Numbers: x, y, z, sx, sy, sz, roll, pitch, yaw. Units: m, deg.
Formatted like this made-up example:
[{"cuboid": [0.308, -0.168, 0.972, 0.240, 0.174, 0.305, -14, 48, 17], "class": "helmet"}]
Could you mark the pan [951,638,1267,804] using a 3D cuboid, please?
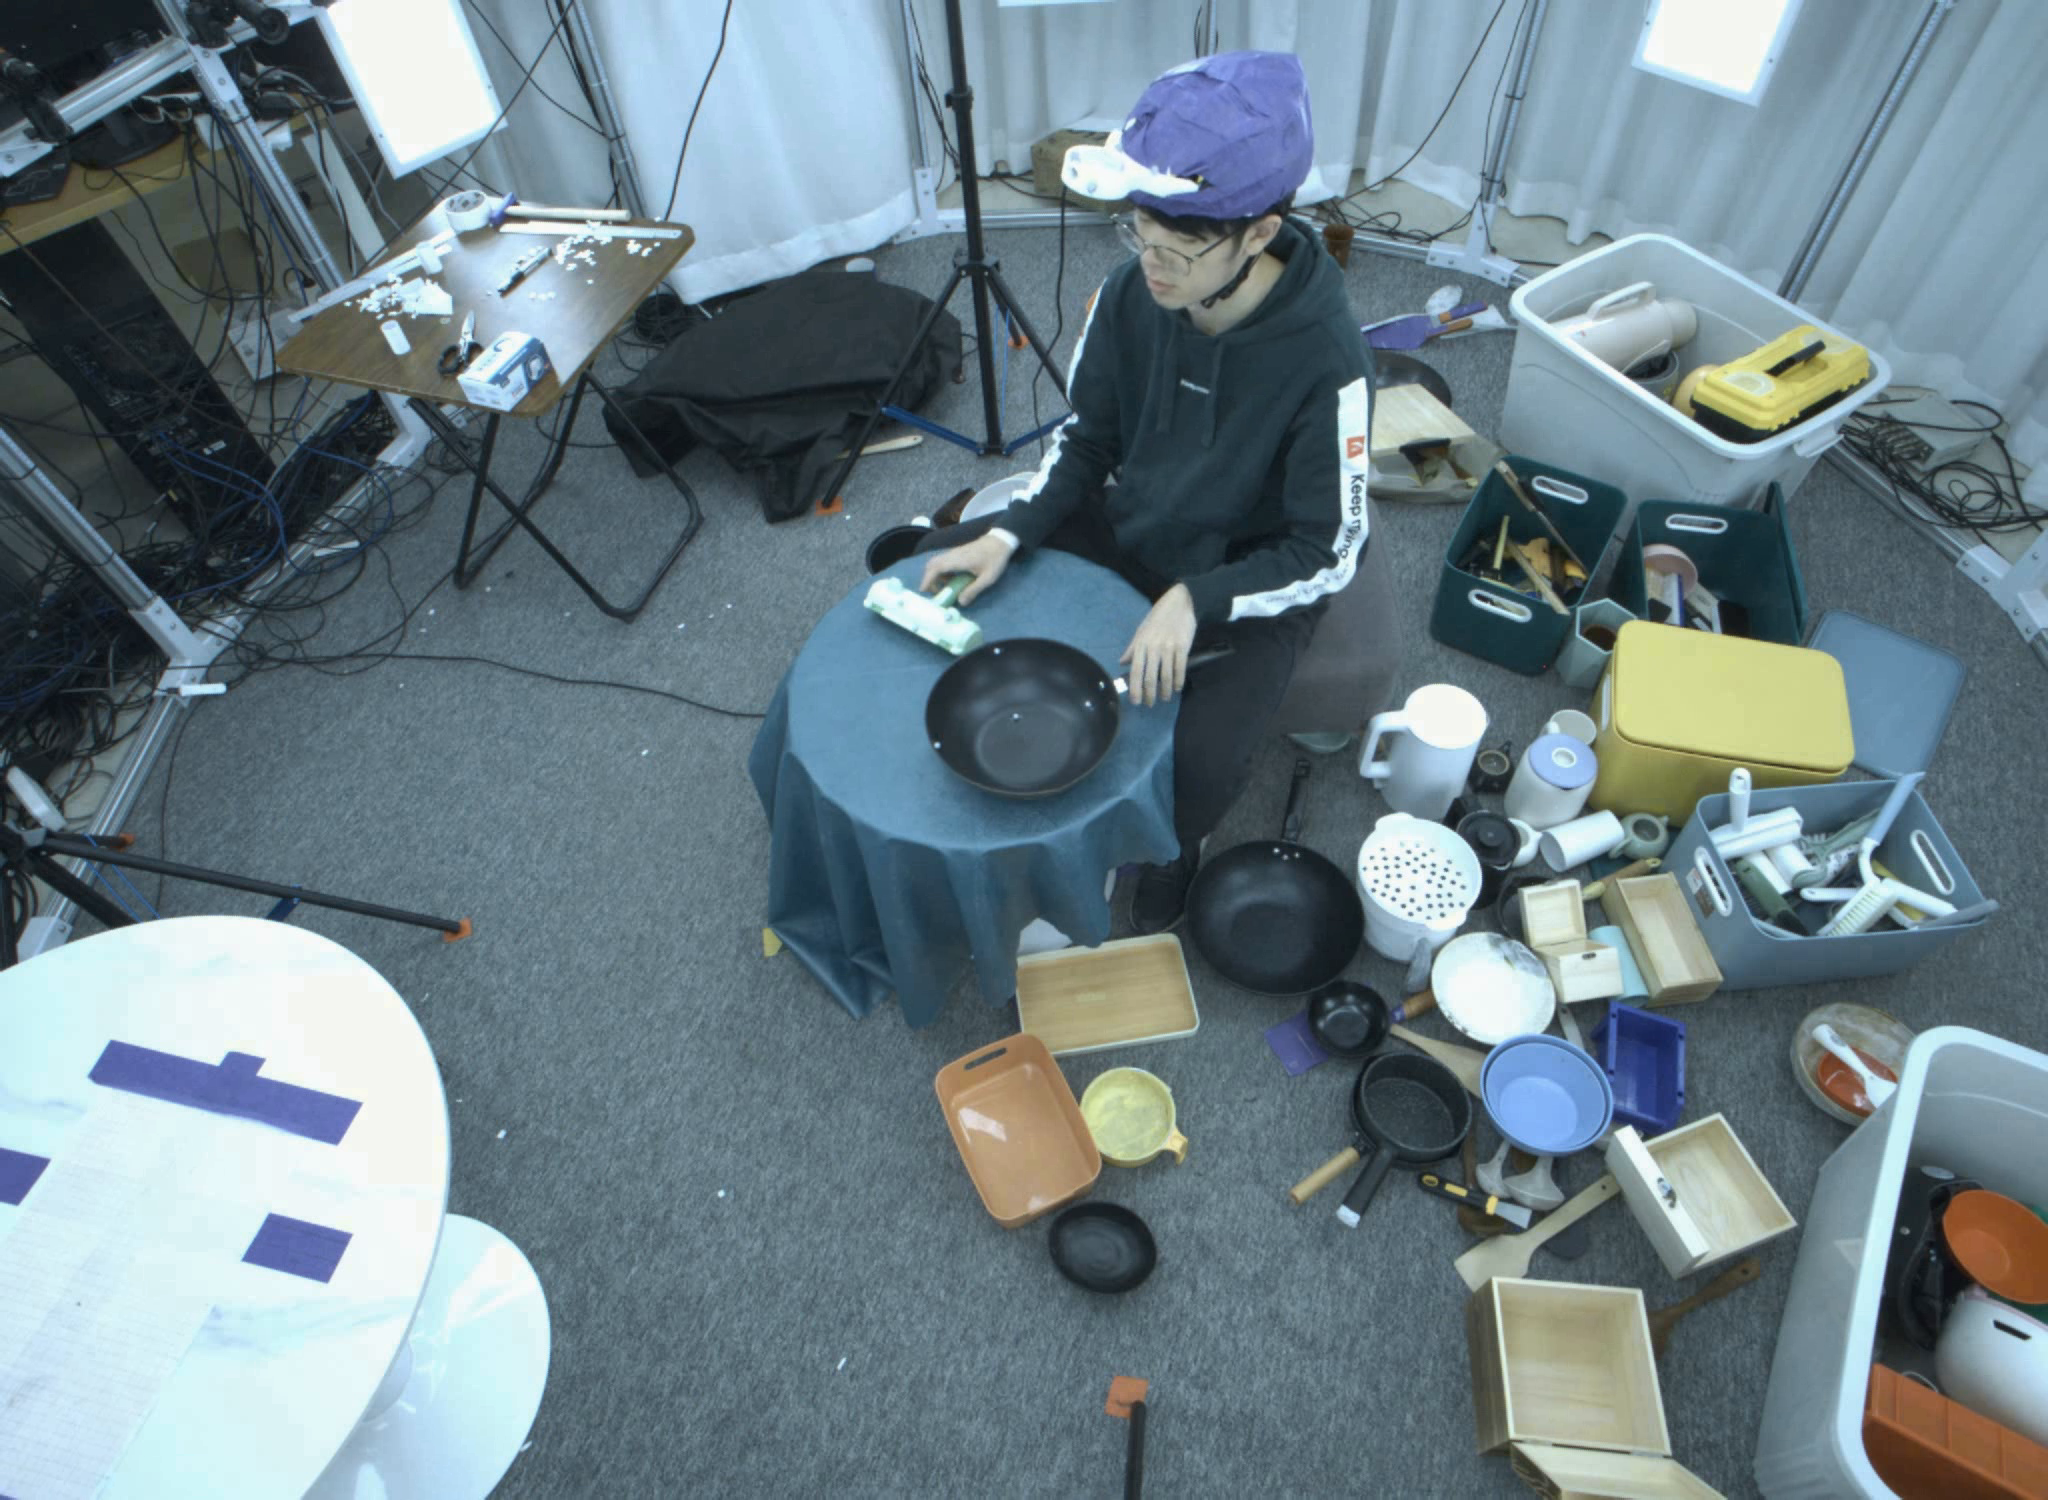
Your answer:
[{"cuboid": [0.125, -0.053, 1.765, 0.466, 0.088, 0.283, -16, 56, -11], "class": "pan"}]

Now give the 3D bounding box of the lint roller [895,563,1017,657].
[{"cuboid": [-0.075, -0.249, 1.916, 0.195, 0.083, 0.184, 31, 67, 22], "class": "lint roller"}]
